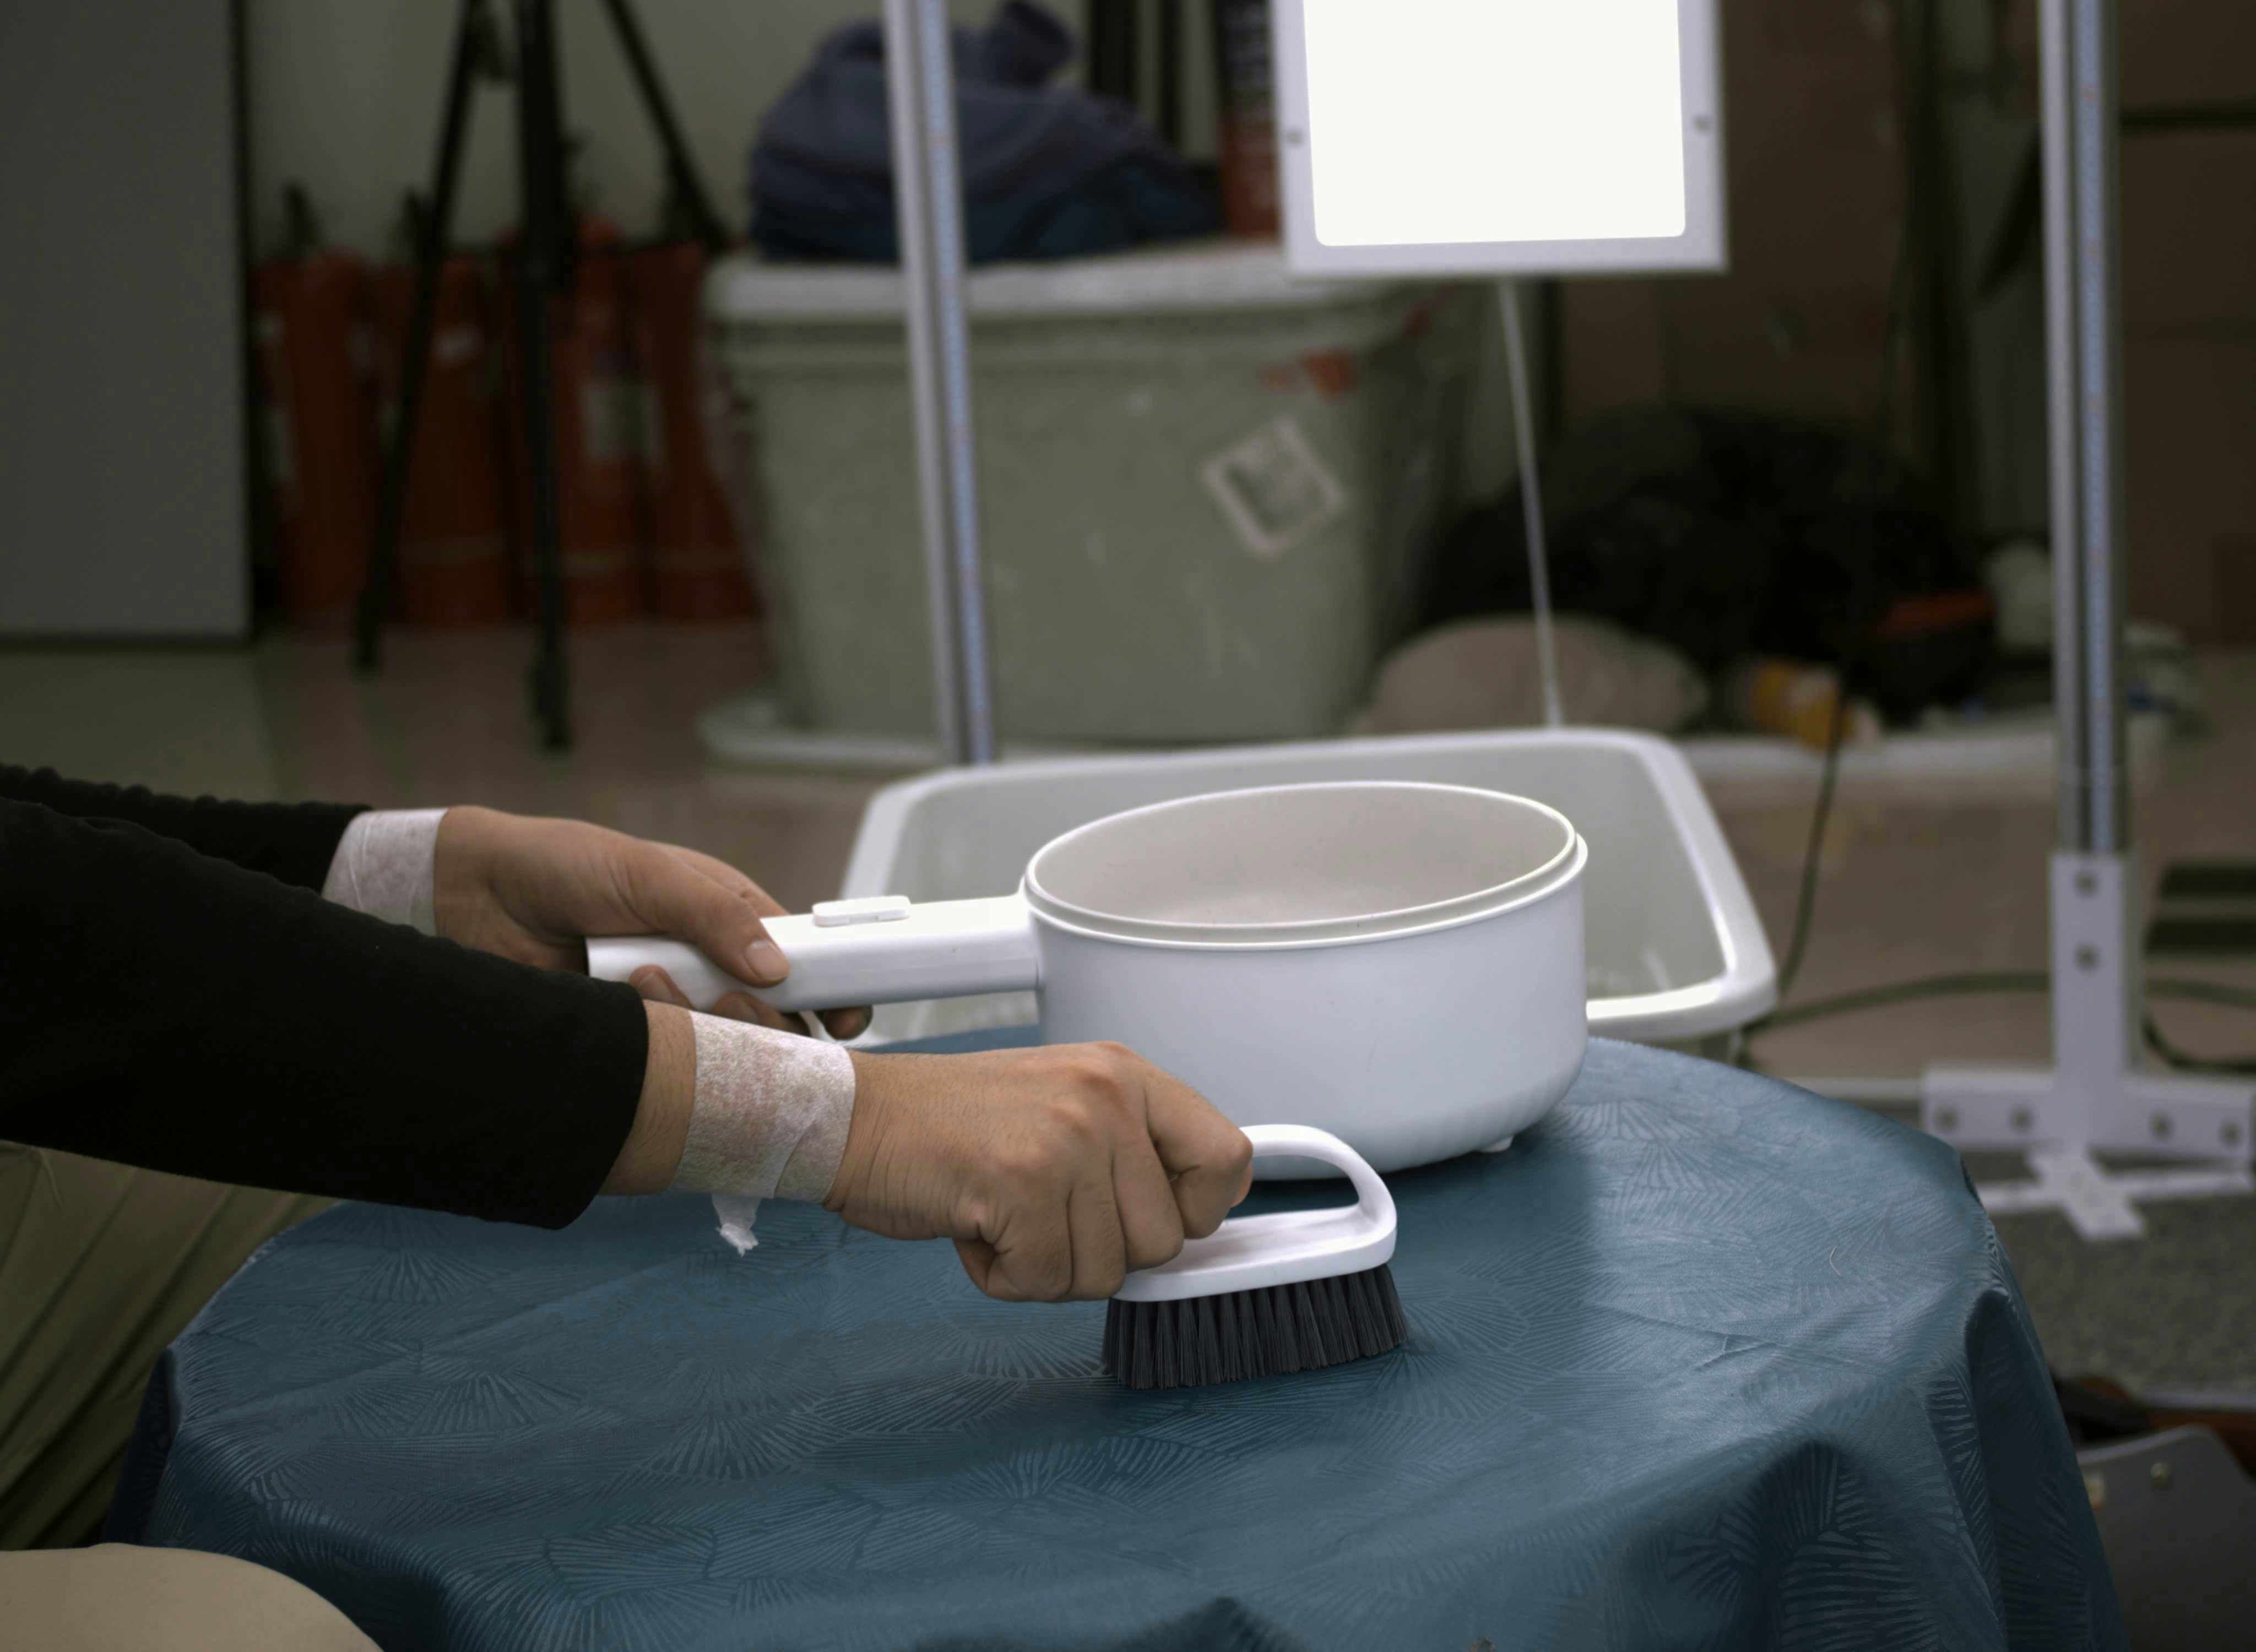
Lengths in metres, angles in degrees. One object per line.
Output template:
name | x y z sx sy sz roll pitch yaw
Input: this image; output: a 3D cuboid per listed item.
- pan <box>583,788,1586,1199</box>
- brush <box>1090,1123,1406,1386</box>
pan | -0.011 0.069 1.939 0.352 0.102 0.202 -7 16 -5
brush | 0.036 0.129 1.717 0.098 0.073 0.050 -7 17 -9
